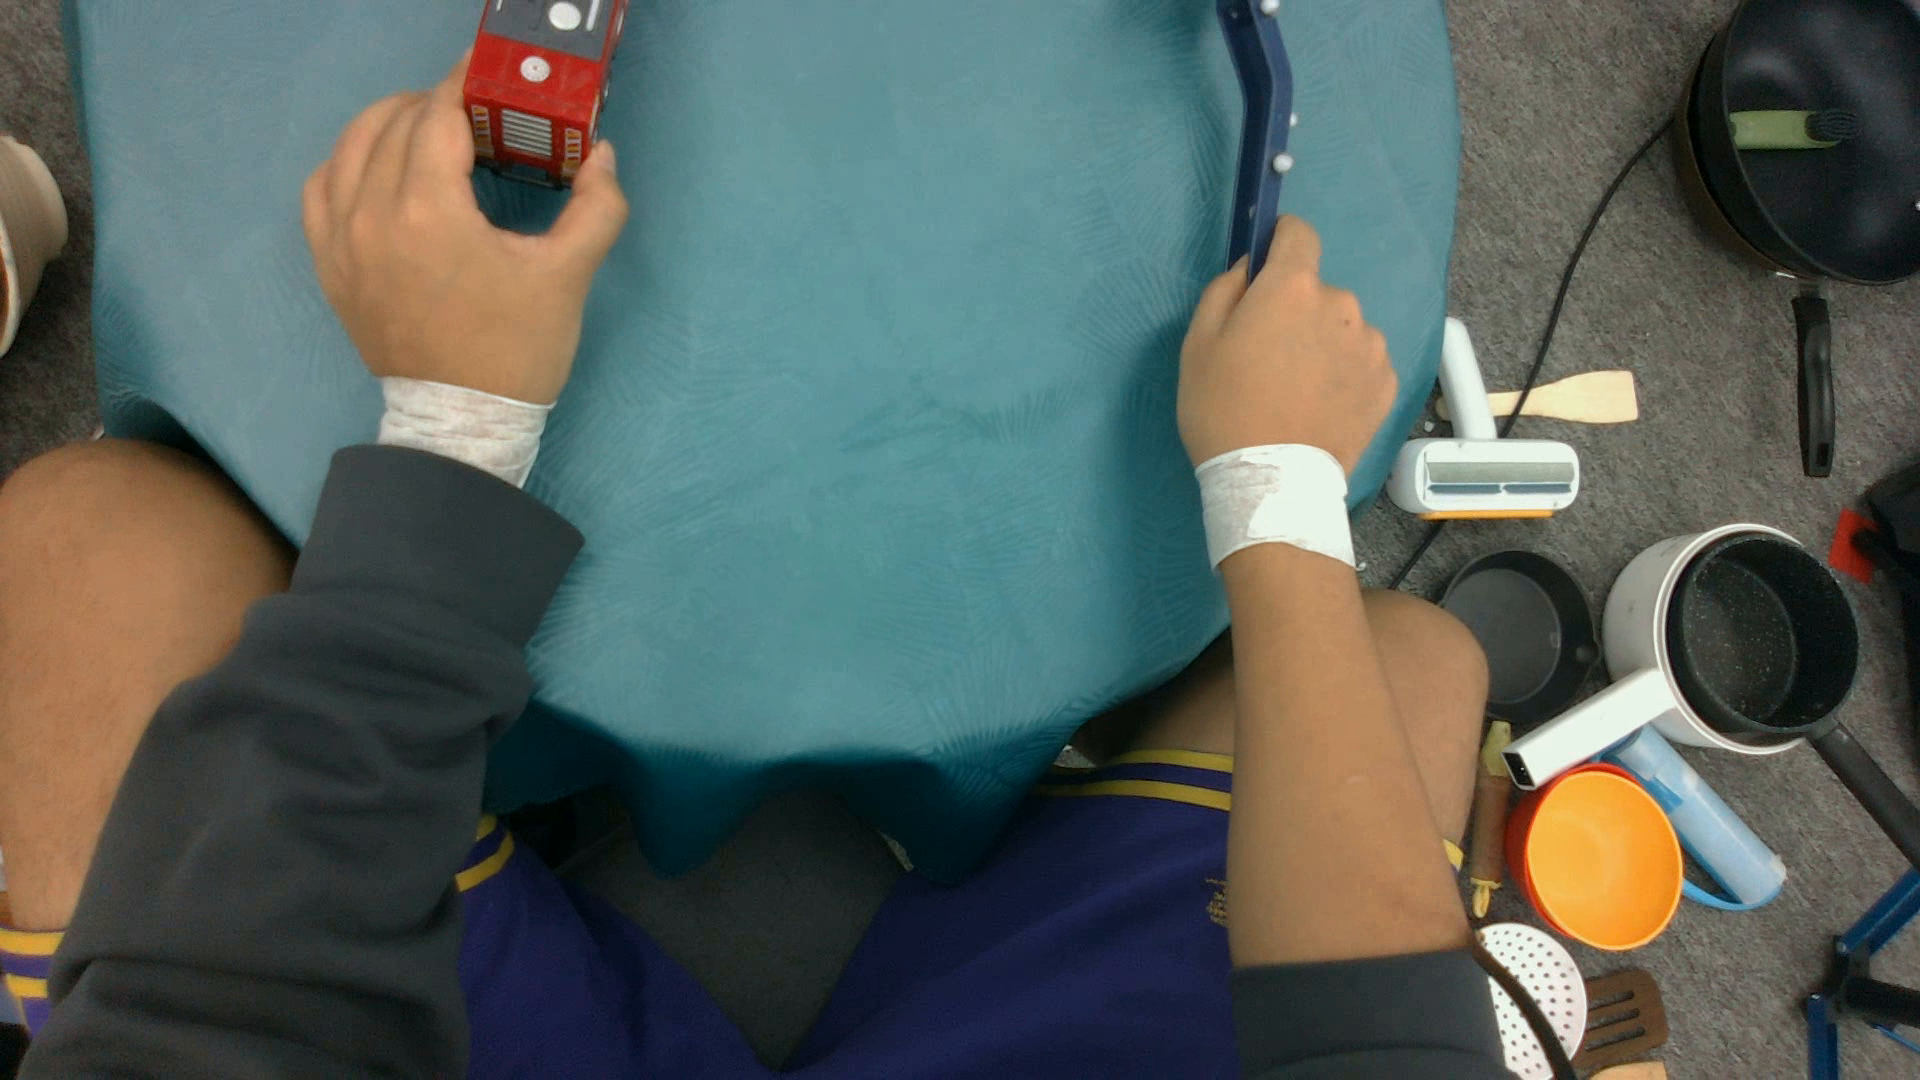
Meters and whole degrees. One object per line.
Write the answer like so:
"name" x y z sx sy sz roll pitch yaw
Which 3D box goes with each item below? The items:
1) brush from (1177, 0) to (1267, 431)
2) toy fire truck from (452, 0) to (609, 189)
"brush" 0.132 -0.185 0.623 0.096 0.033 0.273 0 87 -21
"toy fire truck" -0.162 -0.223 0.541 0.054 0.070 0.168 9 73 -13
